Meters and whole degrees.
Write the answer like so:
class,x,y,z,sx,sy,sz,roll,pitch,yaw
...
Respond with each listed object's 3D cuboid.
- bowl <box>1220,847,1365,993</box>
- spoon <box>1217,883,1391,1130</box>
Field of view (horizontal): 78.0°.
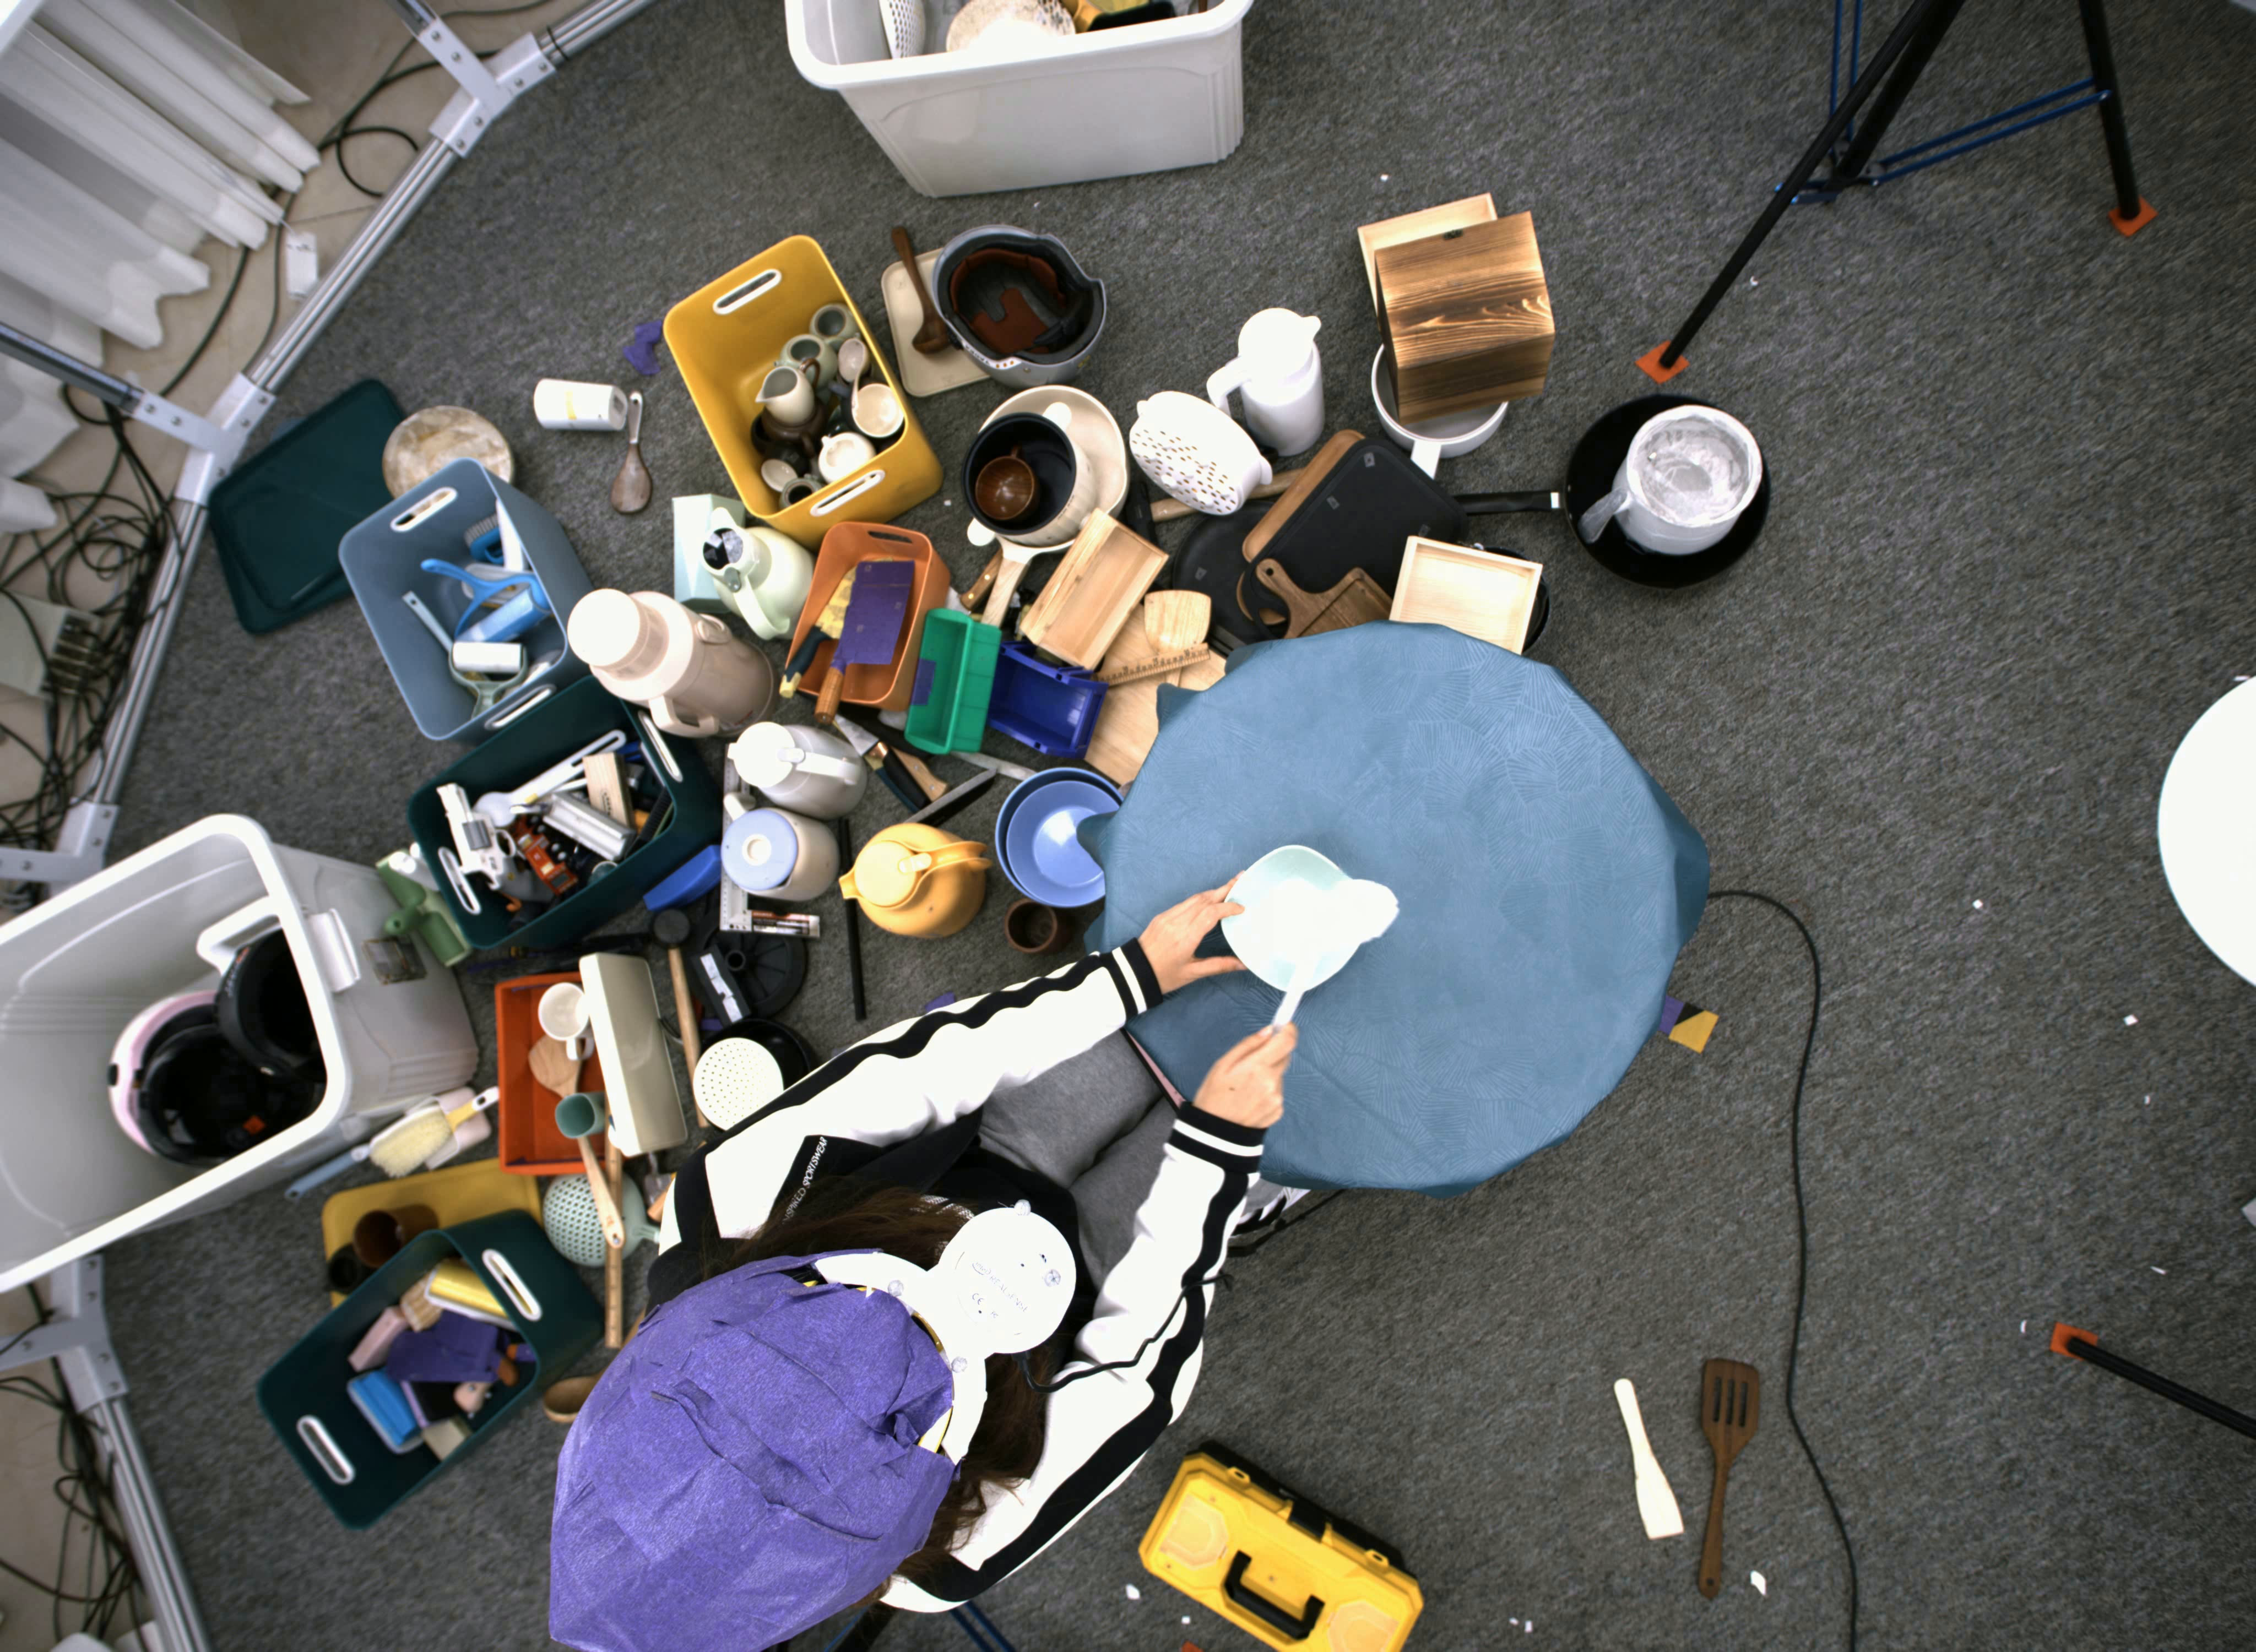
class,x,y,z,sx,sy,sz,roll,pitch,yaw
bowl,0.174,0.099,1.451,0.152,0.059,0.150,-1,86,11
spoon,0.157,0.172,1.312,0.101,0.059,0.278,22,96,-31
